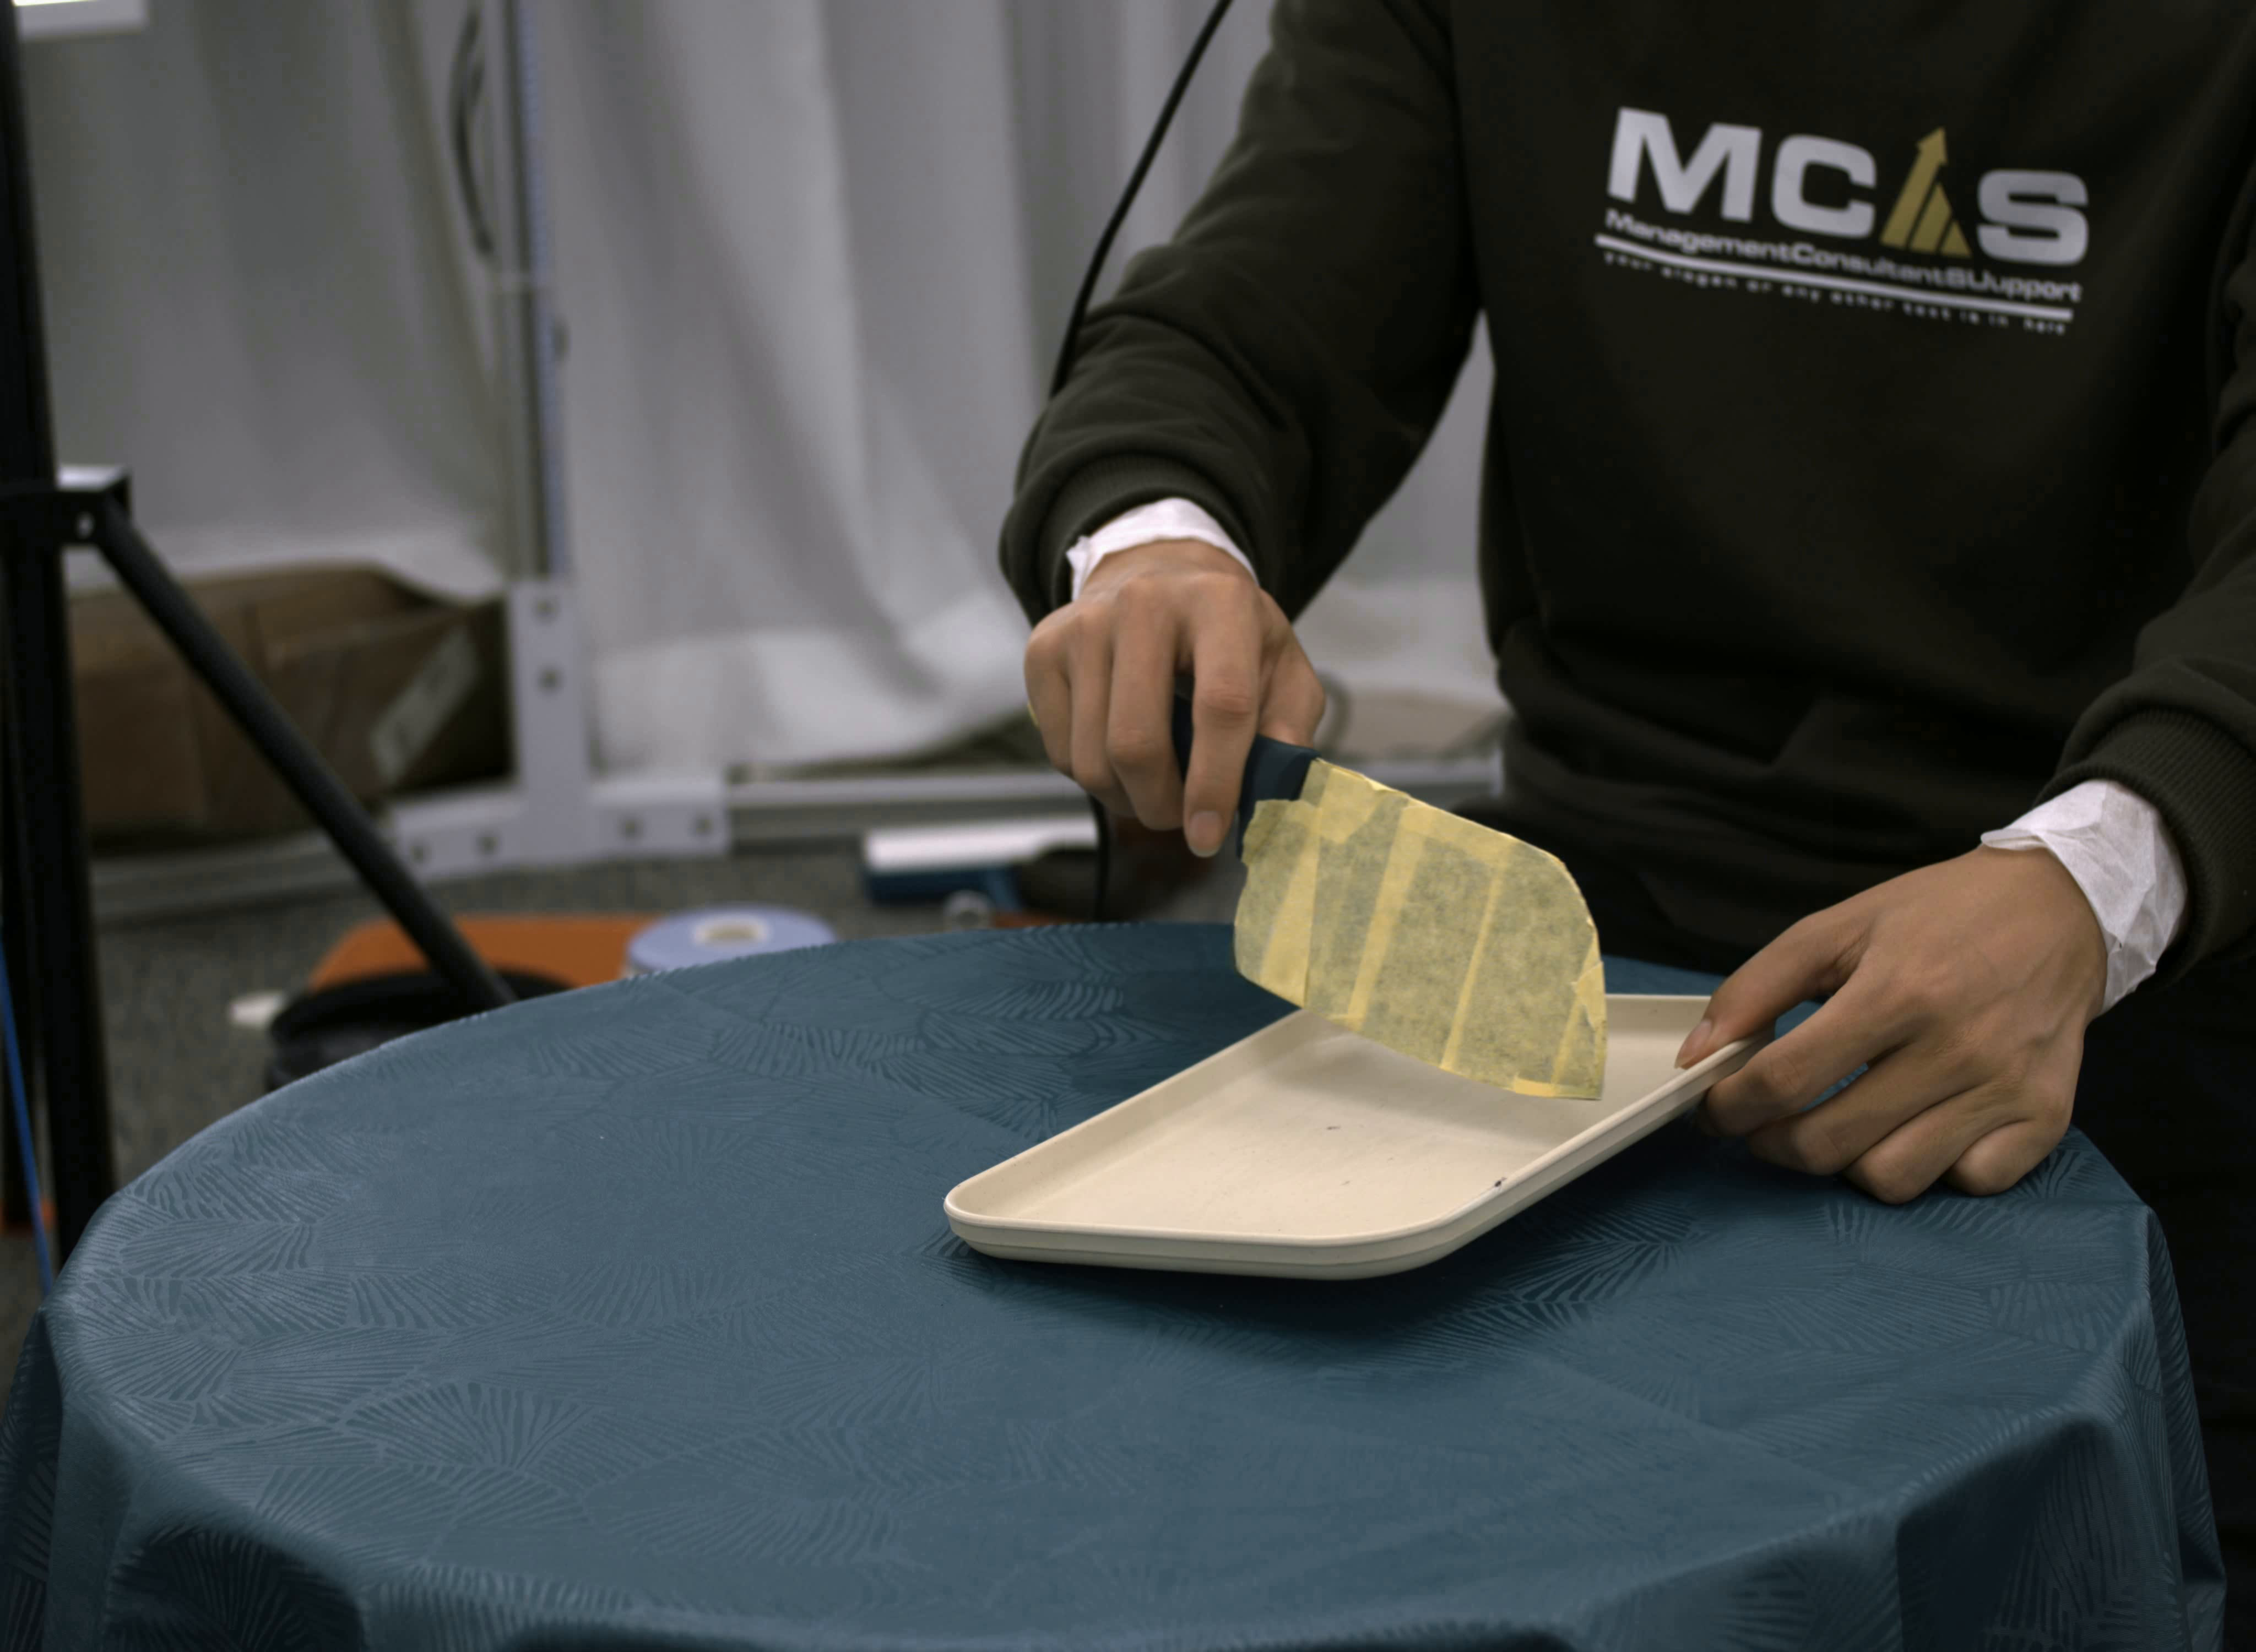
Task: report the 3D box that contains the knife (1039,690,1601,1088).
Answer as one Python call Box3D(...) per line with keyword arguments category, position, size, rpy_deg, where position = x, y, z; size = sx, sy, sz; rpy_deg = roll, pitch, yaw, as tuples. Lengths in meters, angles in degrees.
Box3D(category="knife", position=(0.054, 0.015, 1.619), size=(0.026, 0.081, 0.296), rpy_deg=(14, 9, -37))

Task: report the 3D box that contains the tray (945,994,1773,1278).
Box3D(category="tray", position=(0.071, 0.089, 1.552), size=(0.174, 0.017, 0.235), rpy_deg=(-1, 14, 37))
